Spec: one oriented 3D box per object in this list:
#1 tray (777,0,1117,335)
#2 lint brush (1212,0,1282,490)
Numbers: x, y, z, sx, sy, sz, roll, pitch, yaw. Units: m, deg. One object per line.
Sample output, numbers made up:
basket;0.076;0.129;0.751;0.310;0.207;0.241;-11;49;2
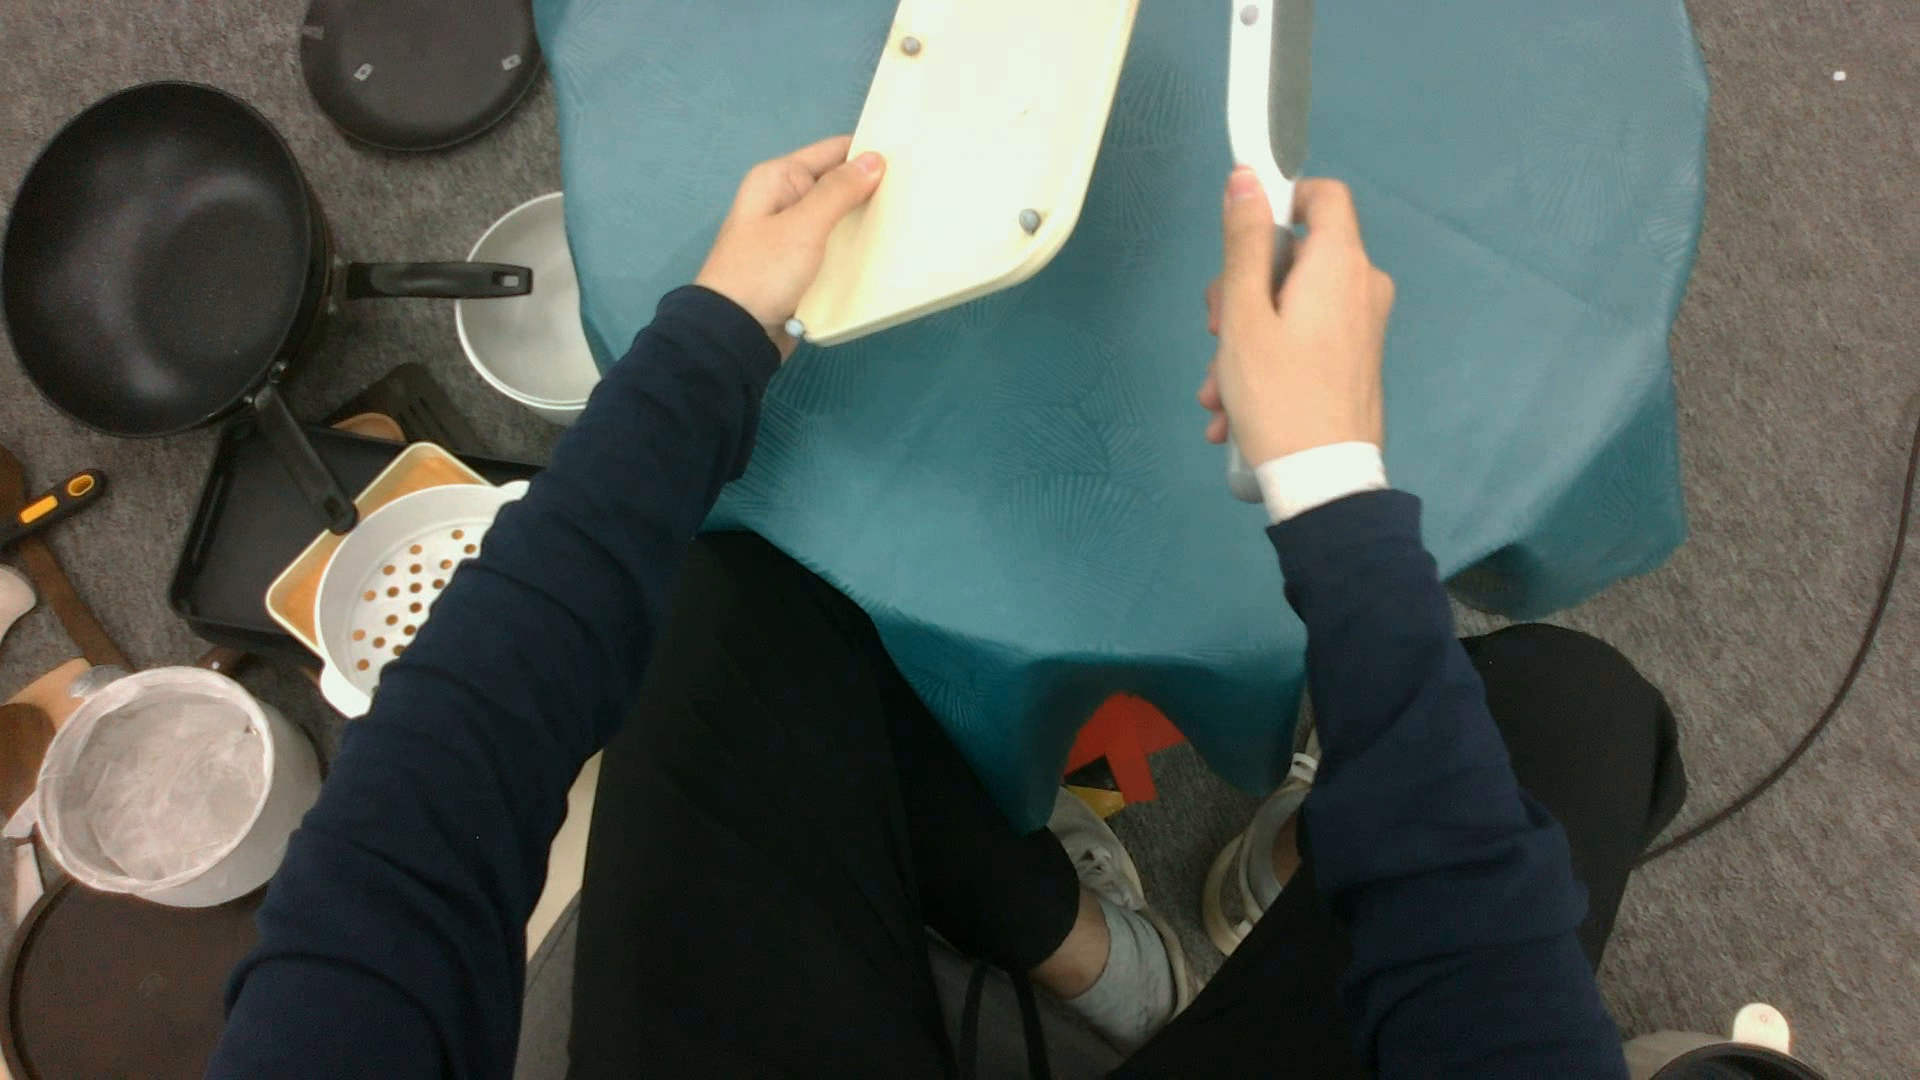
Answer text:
tray;0.003;-0.201;0.609;0.017;0.170;0.240;33;62;-36
lint brush;0.116;-0.175;0.556;0.021;0.060;0.309;-1;88;26
